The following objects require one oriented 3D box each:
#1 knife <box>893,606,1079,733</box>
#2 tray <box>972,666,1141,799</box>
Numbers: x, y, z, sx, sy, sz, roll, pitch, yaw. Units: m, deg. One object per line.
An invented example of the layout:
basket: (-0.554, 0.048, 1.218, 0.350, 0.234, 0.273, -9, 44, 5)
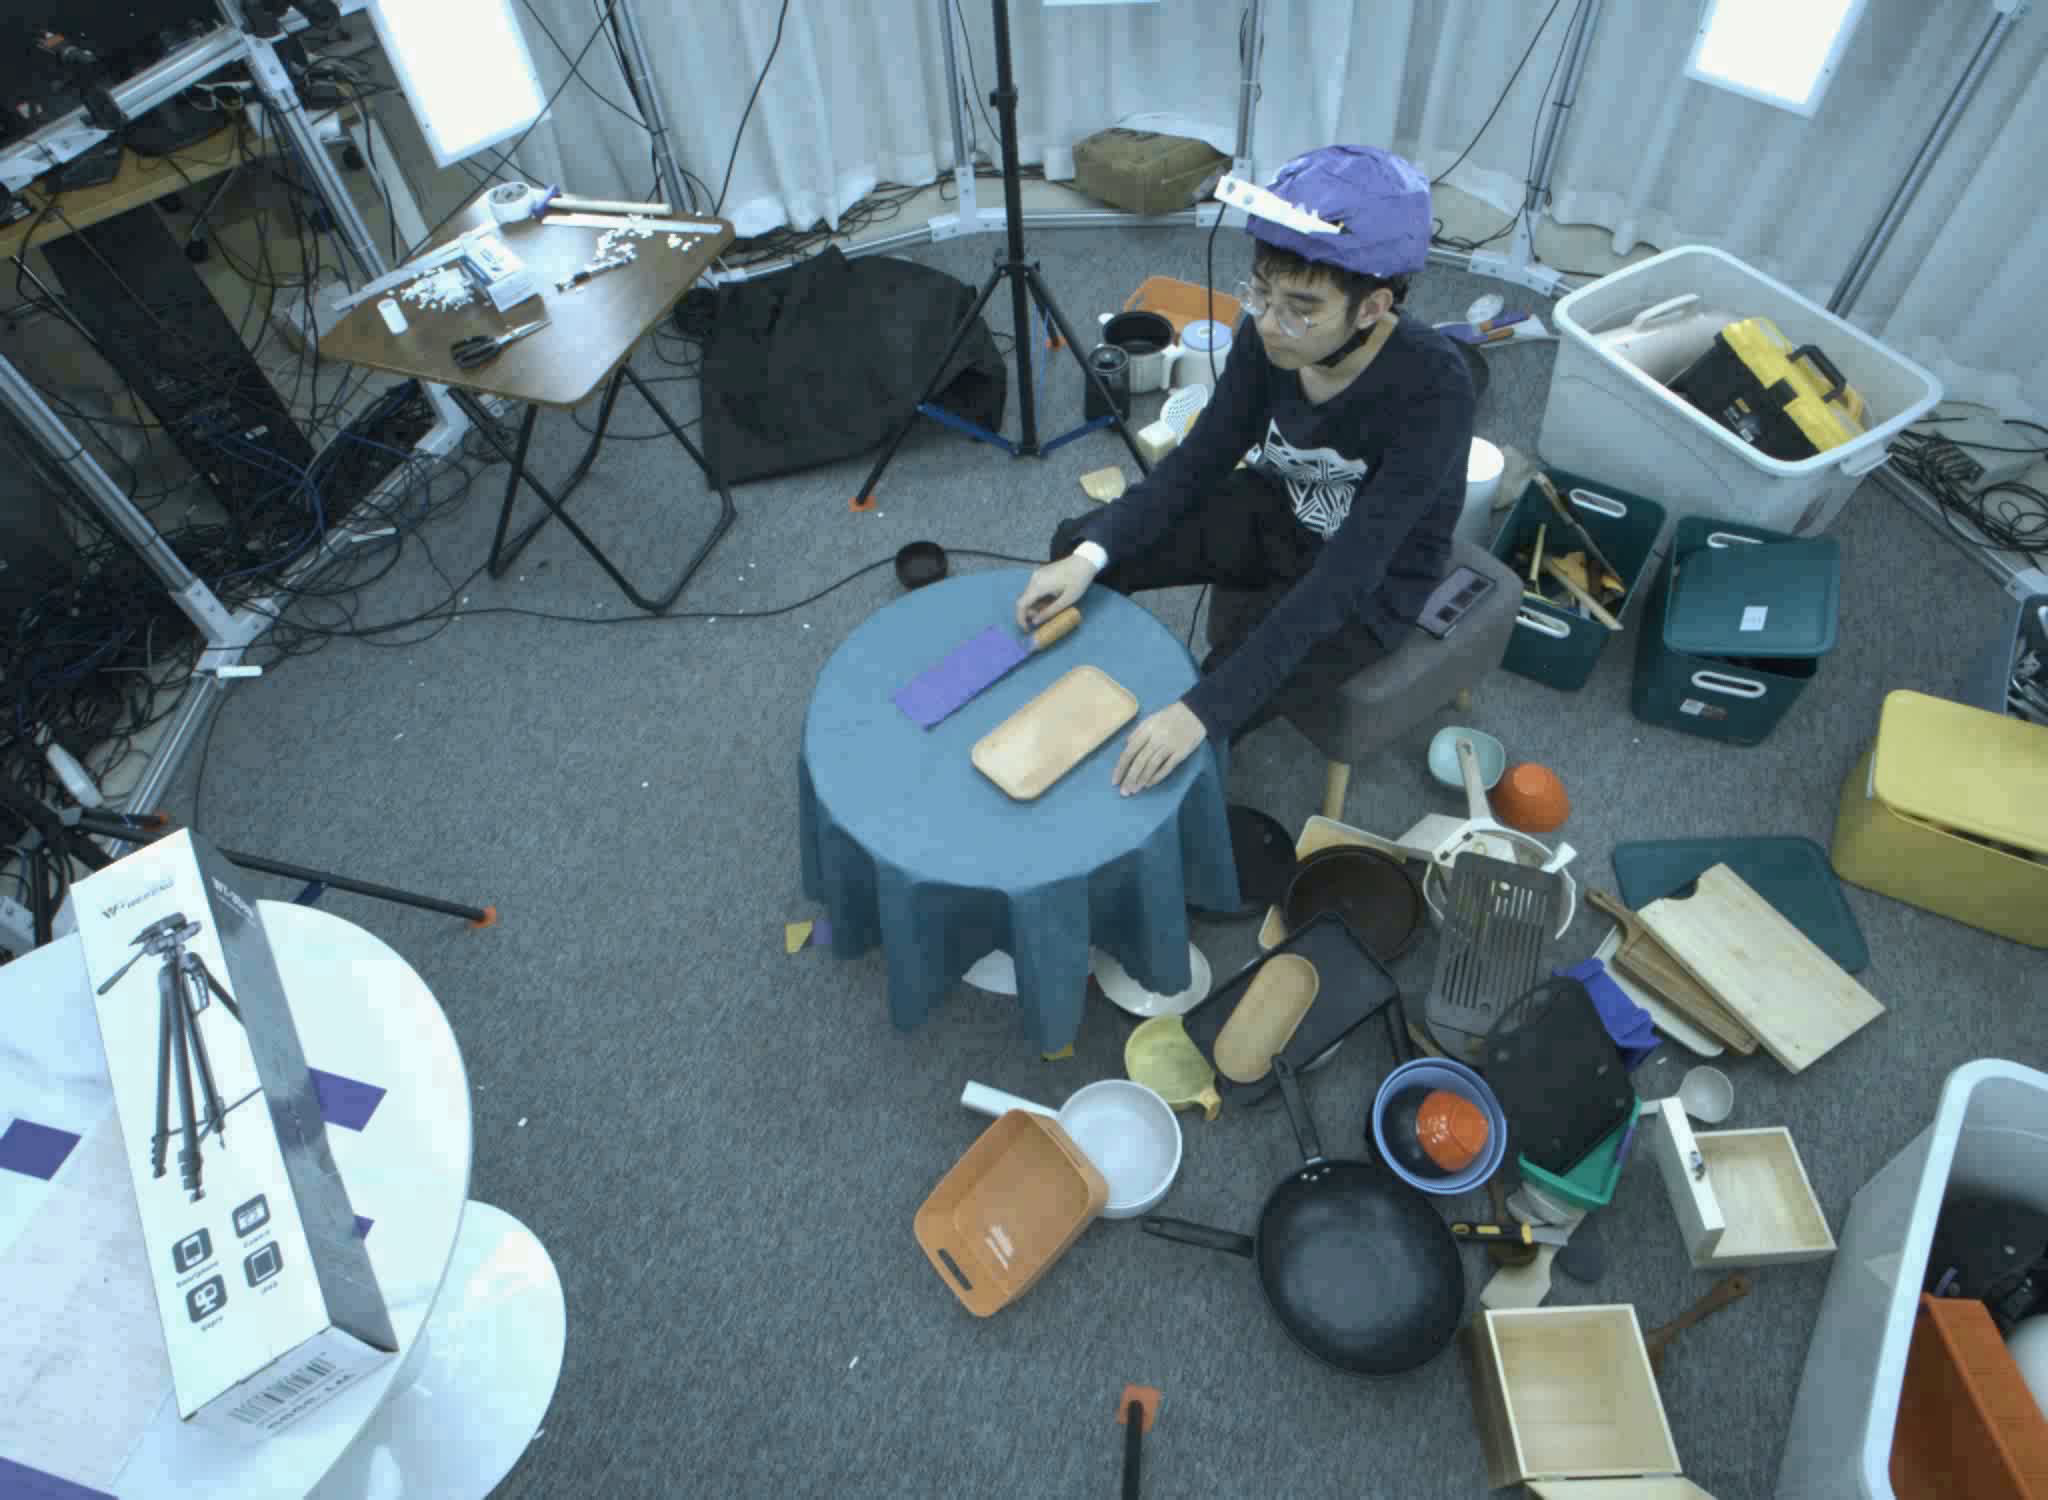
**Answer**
knife: (-0.059, -0.144, 1.883, 0.317, 0.032, 0.102, -37, 61, -22)
tray: (0.048, -0.027, 1.803, 0.253, 0.023, 0.128, -36, 63, -23)
